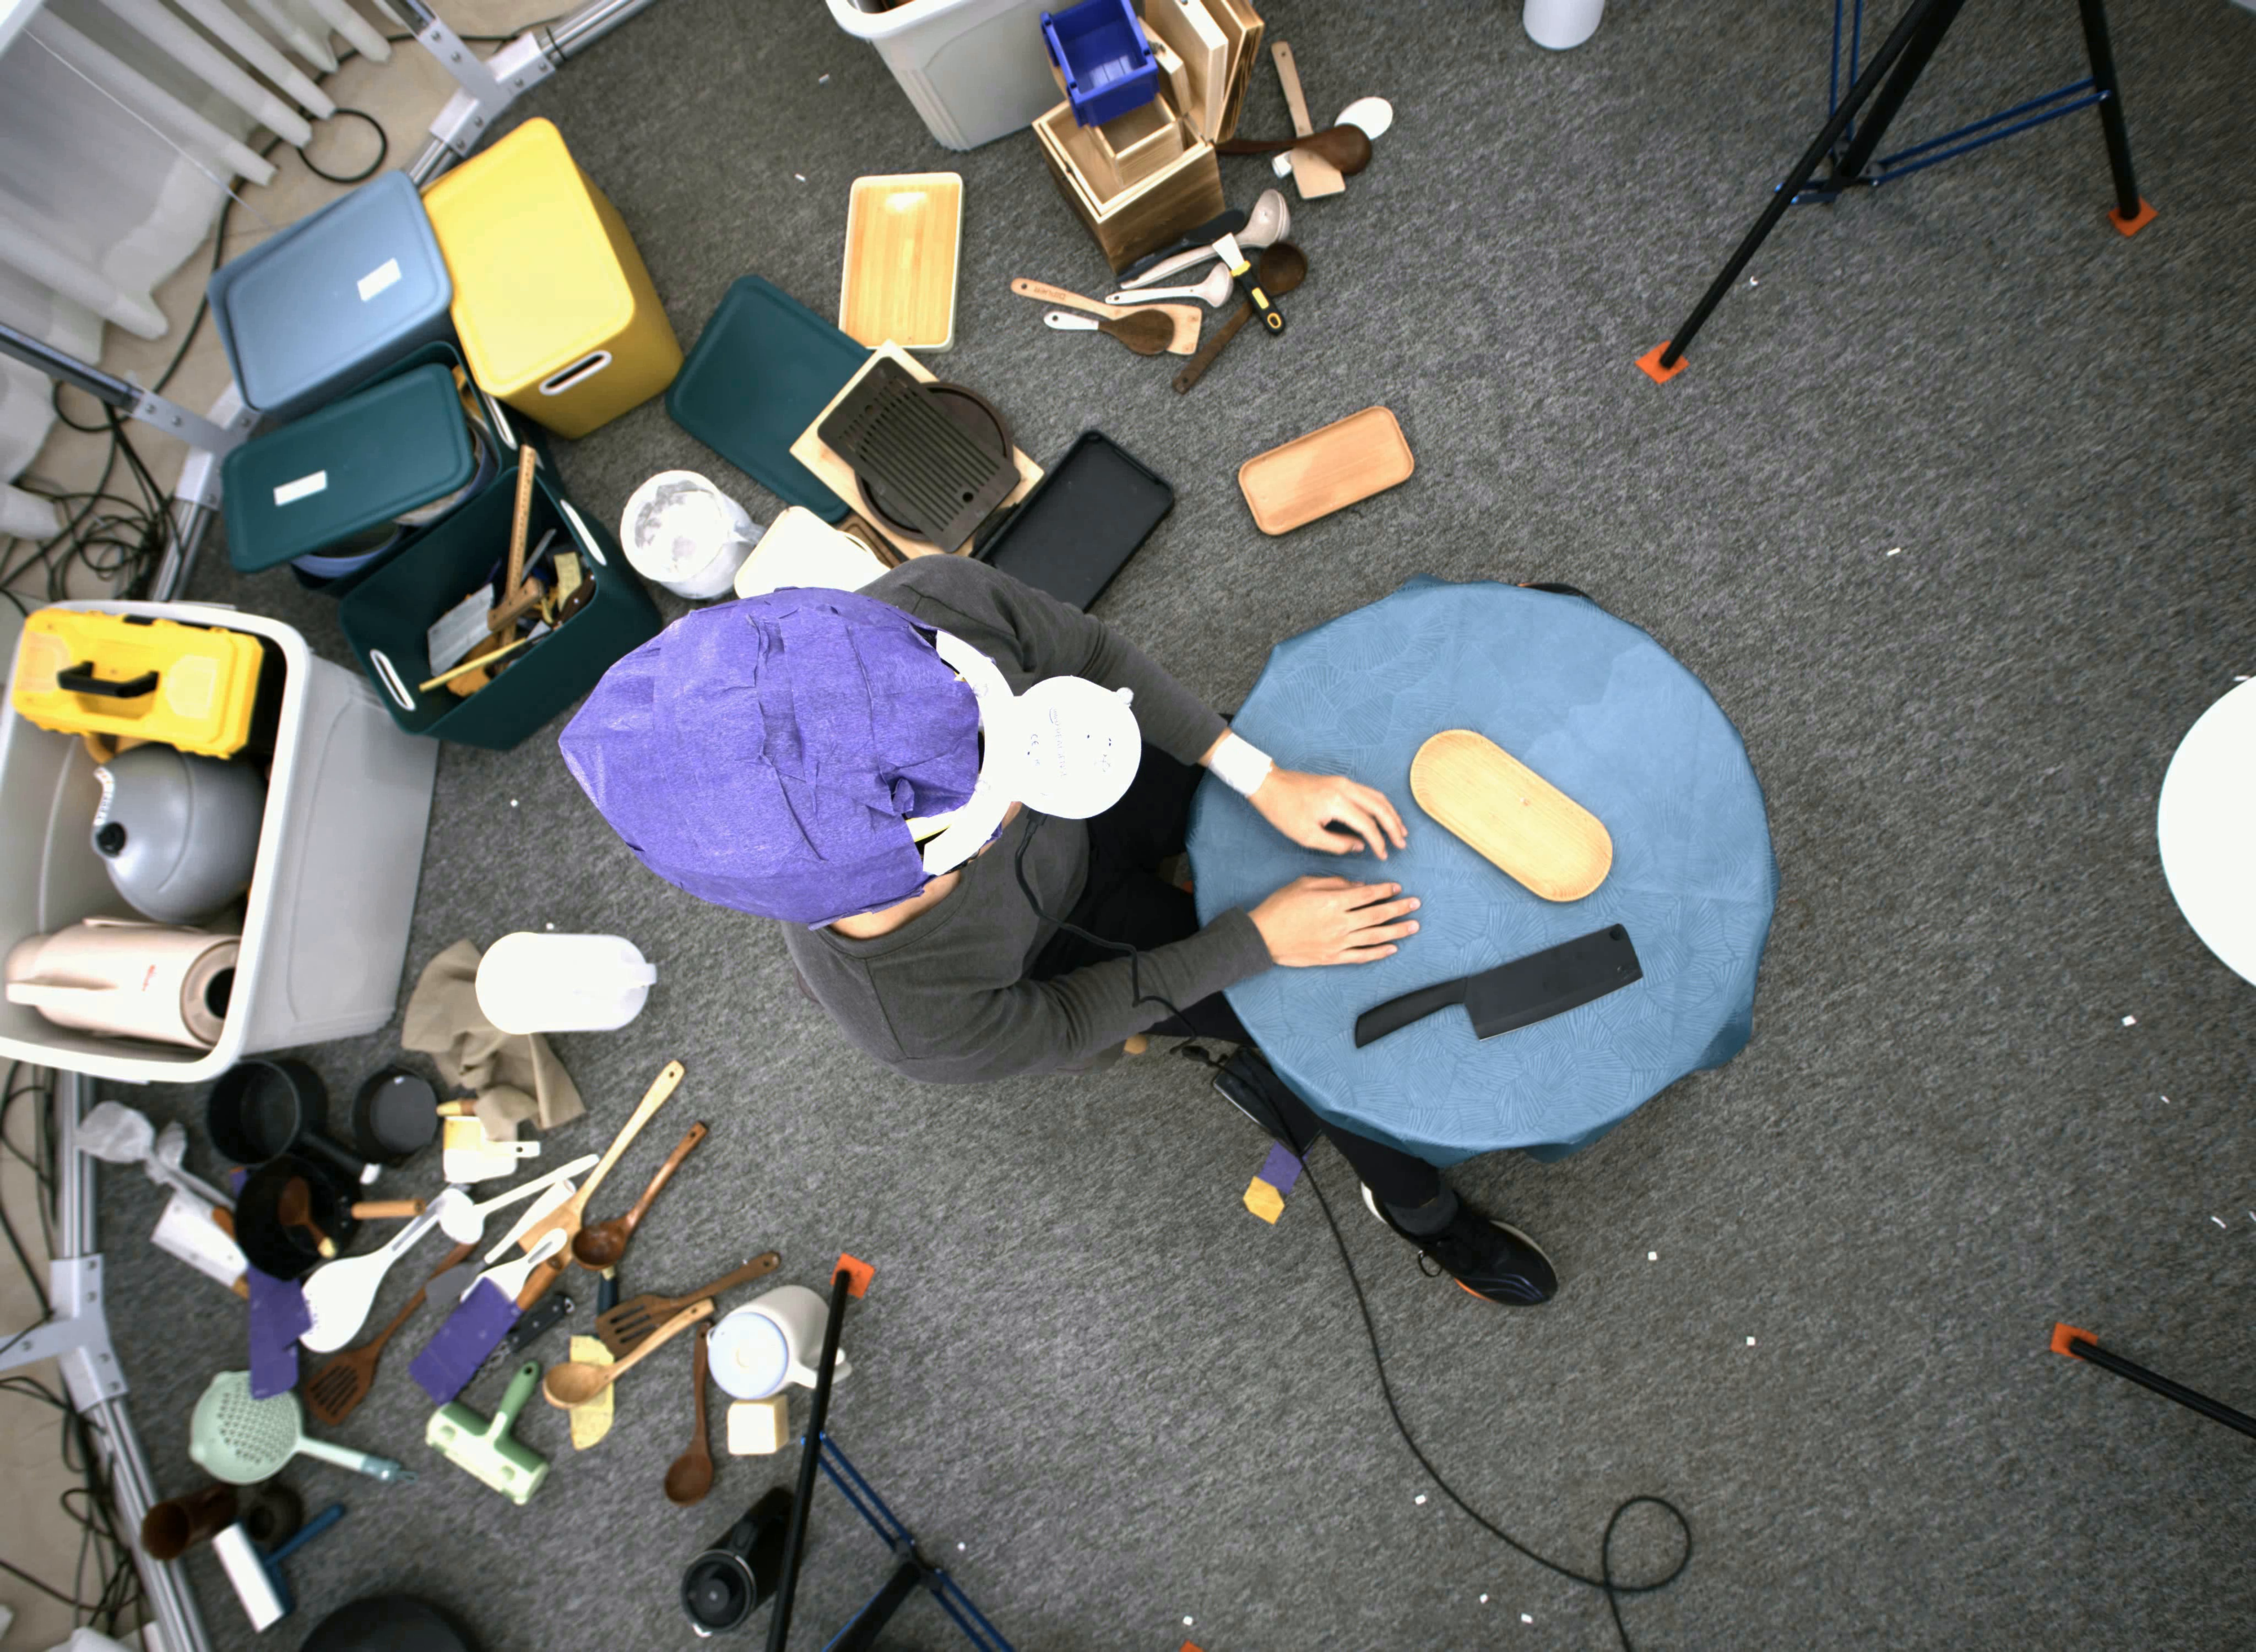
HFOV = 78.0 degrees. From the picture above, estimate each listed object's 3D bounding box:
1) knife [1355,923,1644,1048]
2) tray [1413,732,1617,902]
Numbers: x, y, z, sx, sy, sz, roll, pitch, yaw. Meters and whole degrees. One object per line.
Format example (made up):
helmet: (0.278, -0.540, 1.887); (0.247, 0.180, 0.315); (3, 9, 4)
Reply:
knife: (0.380, 0.174, 1.427); (0.304, 0.021, 0.080); (-17, 85, 8)
tray: (0.402, -0.012, 1.432); (0.230, 0.020, 0.102); (36, 95, 9)
